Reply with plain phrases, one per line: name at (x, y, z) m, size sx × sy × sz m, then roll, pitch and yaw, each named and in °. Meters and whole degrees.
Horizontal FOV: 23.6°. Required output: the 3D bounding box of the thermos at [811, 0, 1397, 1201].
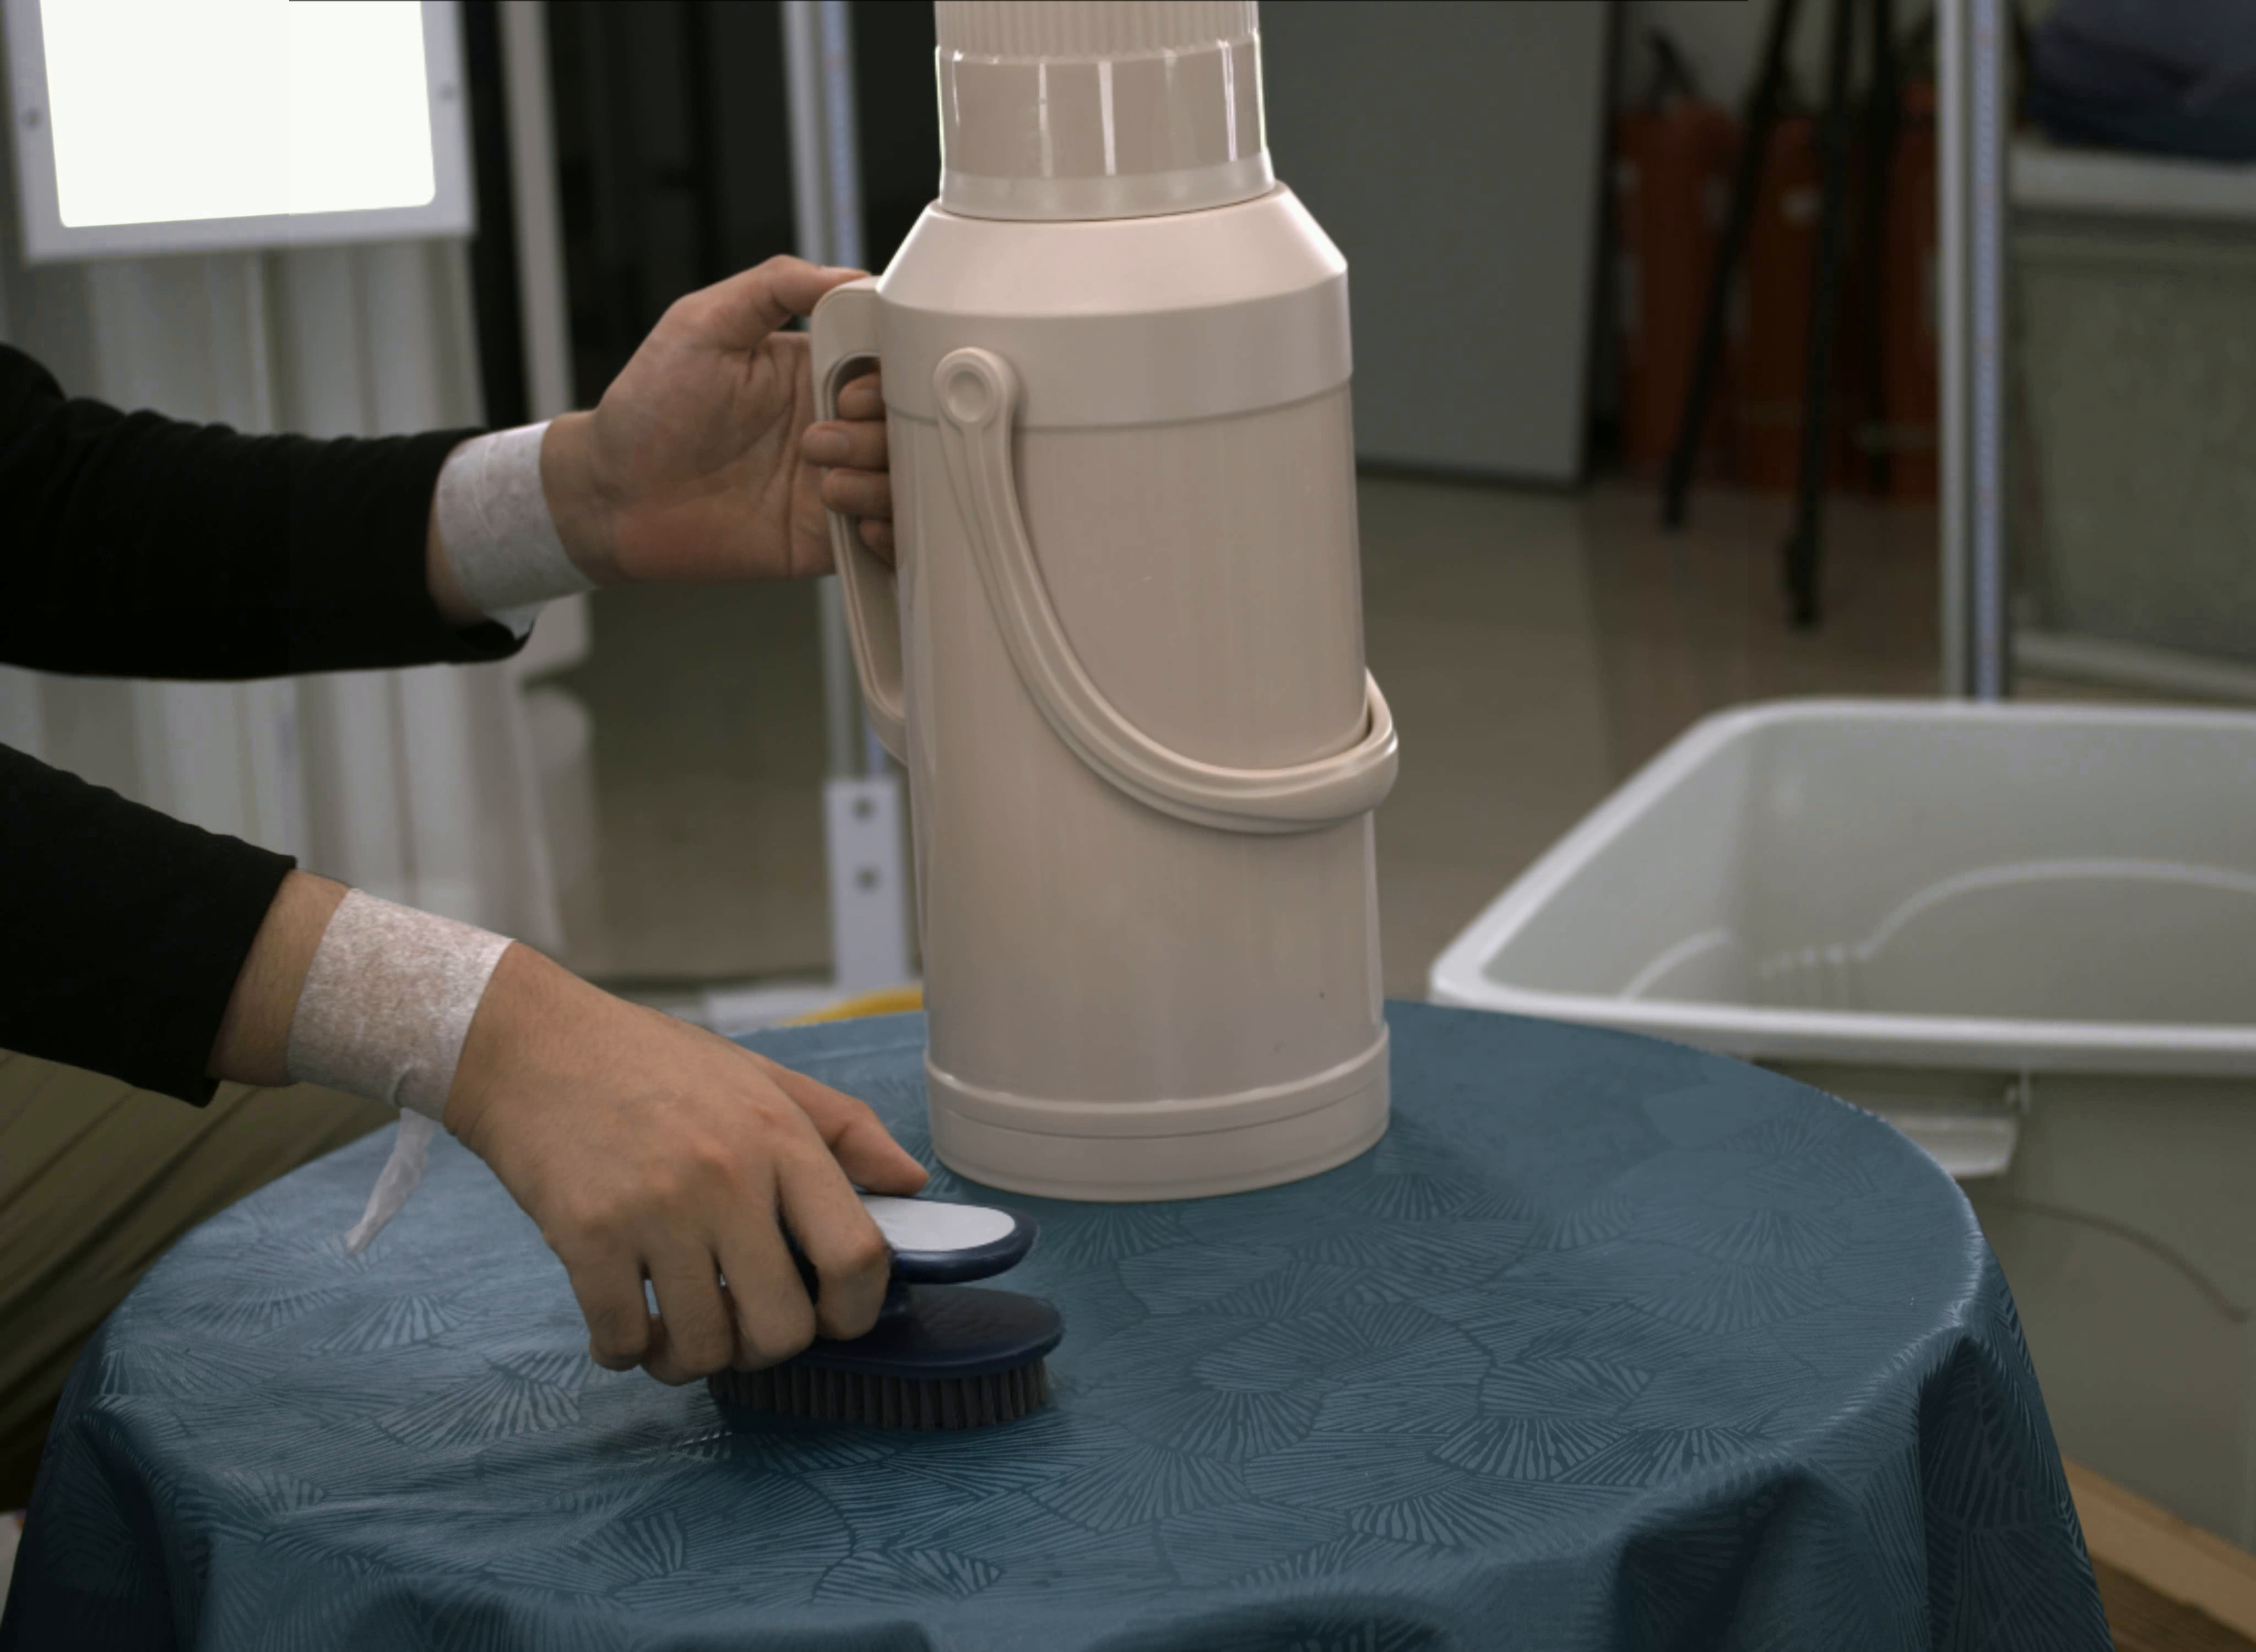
thermos at (-0.011, -0.091, 1.798) m, size 0.208 × 0.410 × 0.172 m, roll 5°, pitch 17°, yaw 33°

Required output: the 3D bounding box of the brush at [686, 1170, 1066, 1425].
brush at (-0.075, 0.141, 1.593) m, size 0.122 × 0.062 × 0.067 m, roll 7°, pitch 16°, yaw 31°
